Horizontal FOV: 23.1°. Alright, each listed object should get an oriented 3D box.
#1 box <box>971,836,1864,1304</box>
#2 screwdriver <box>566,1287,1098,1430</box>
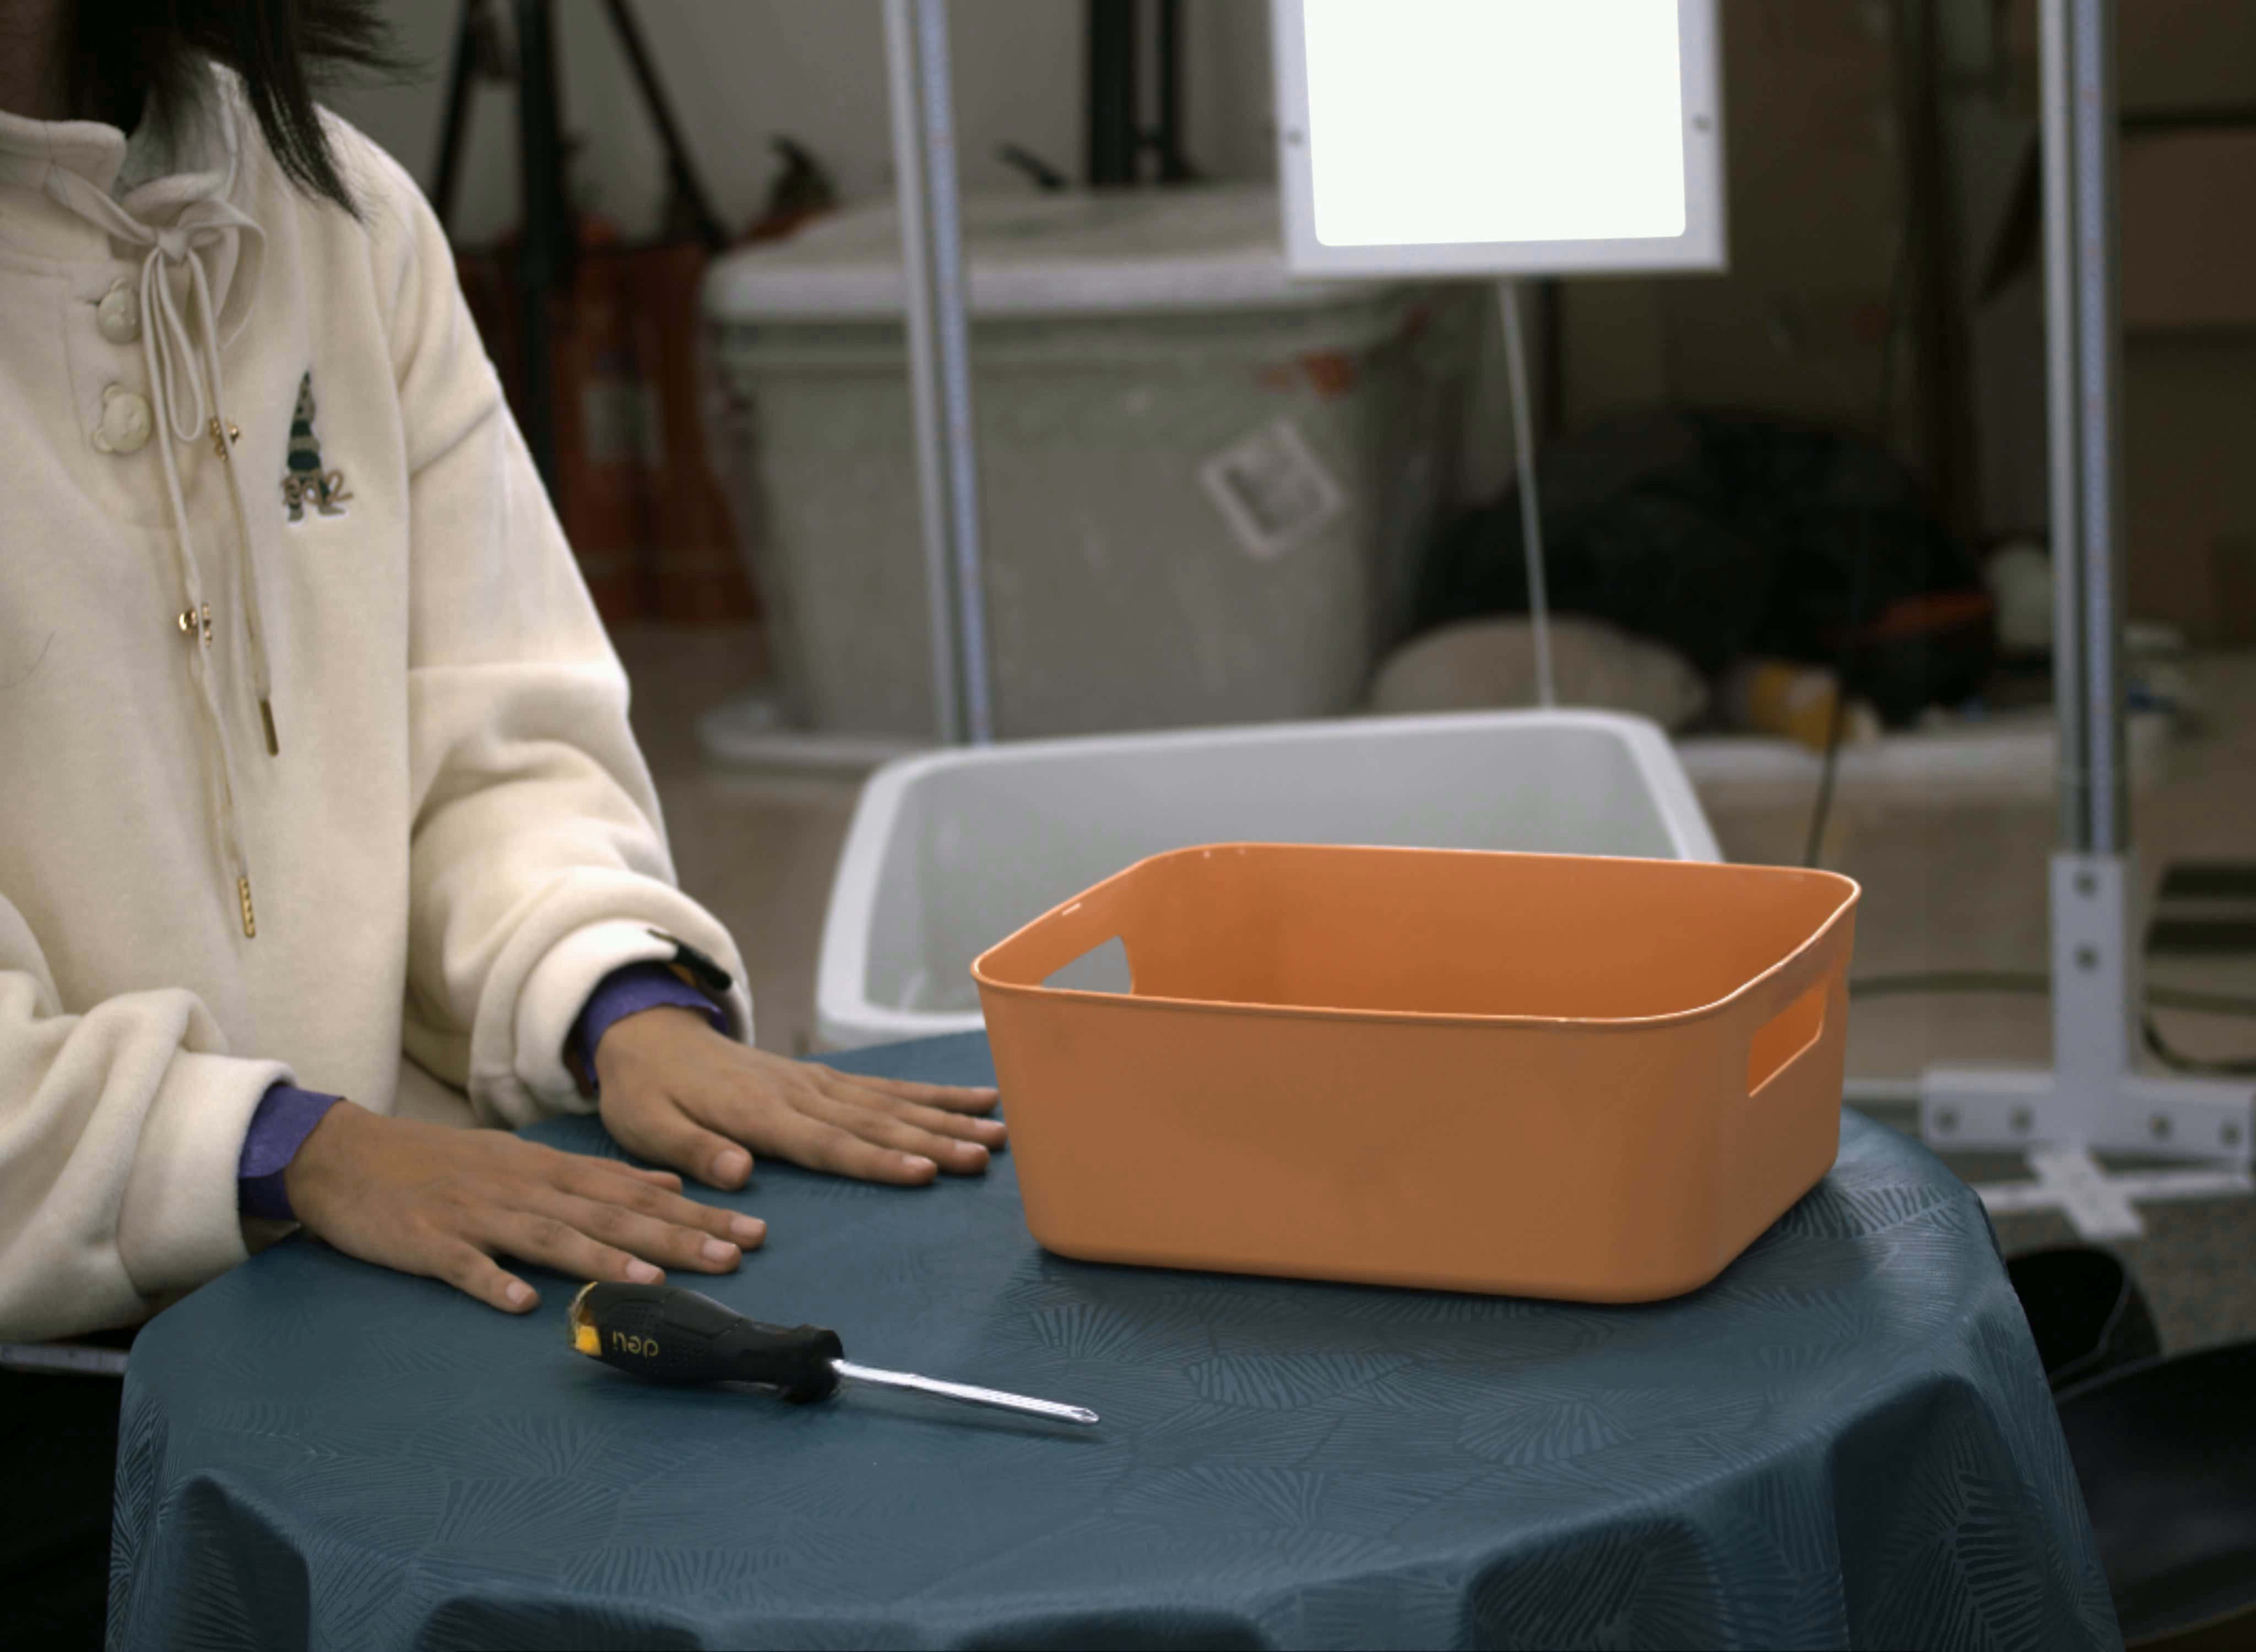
[{"bbox_3d":[0.101,0.079,1.836,0.278,0.103,0.195,3,16,27],"label":"box"},{"bbox_3d":[-0.094,0.171,1.711,0.200,0.031,0.030,9,19,35],"label":"screwdriver"}]
